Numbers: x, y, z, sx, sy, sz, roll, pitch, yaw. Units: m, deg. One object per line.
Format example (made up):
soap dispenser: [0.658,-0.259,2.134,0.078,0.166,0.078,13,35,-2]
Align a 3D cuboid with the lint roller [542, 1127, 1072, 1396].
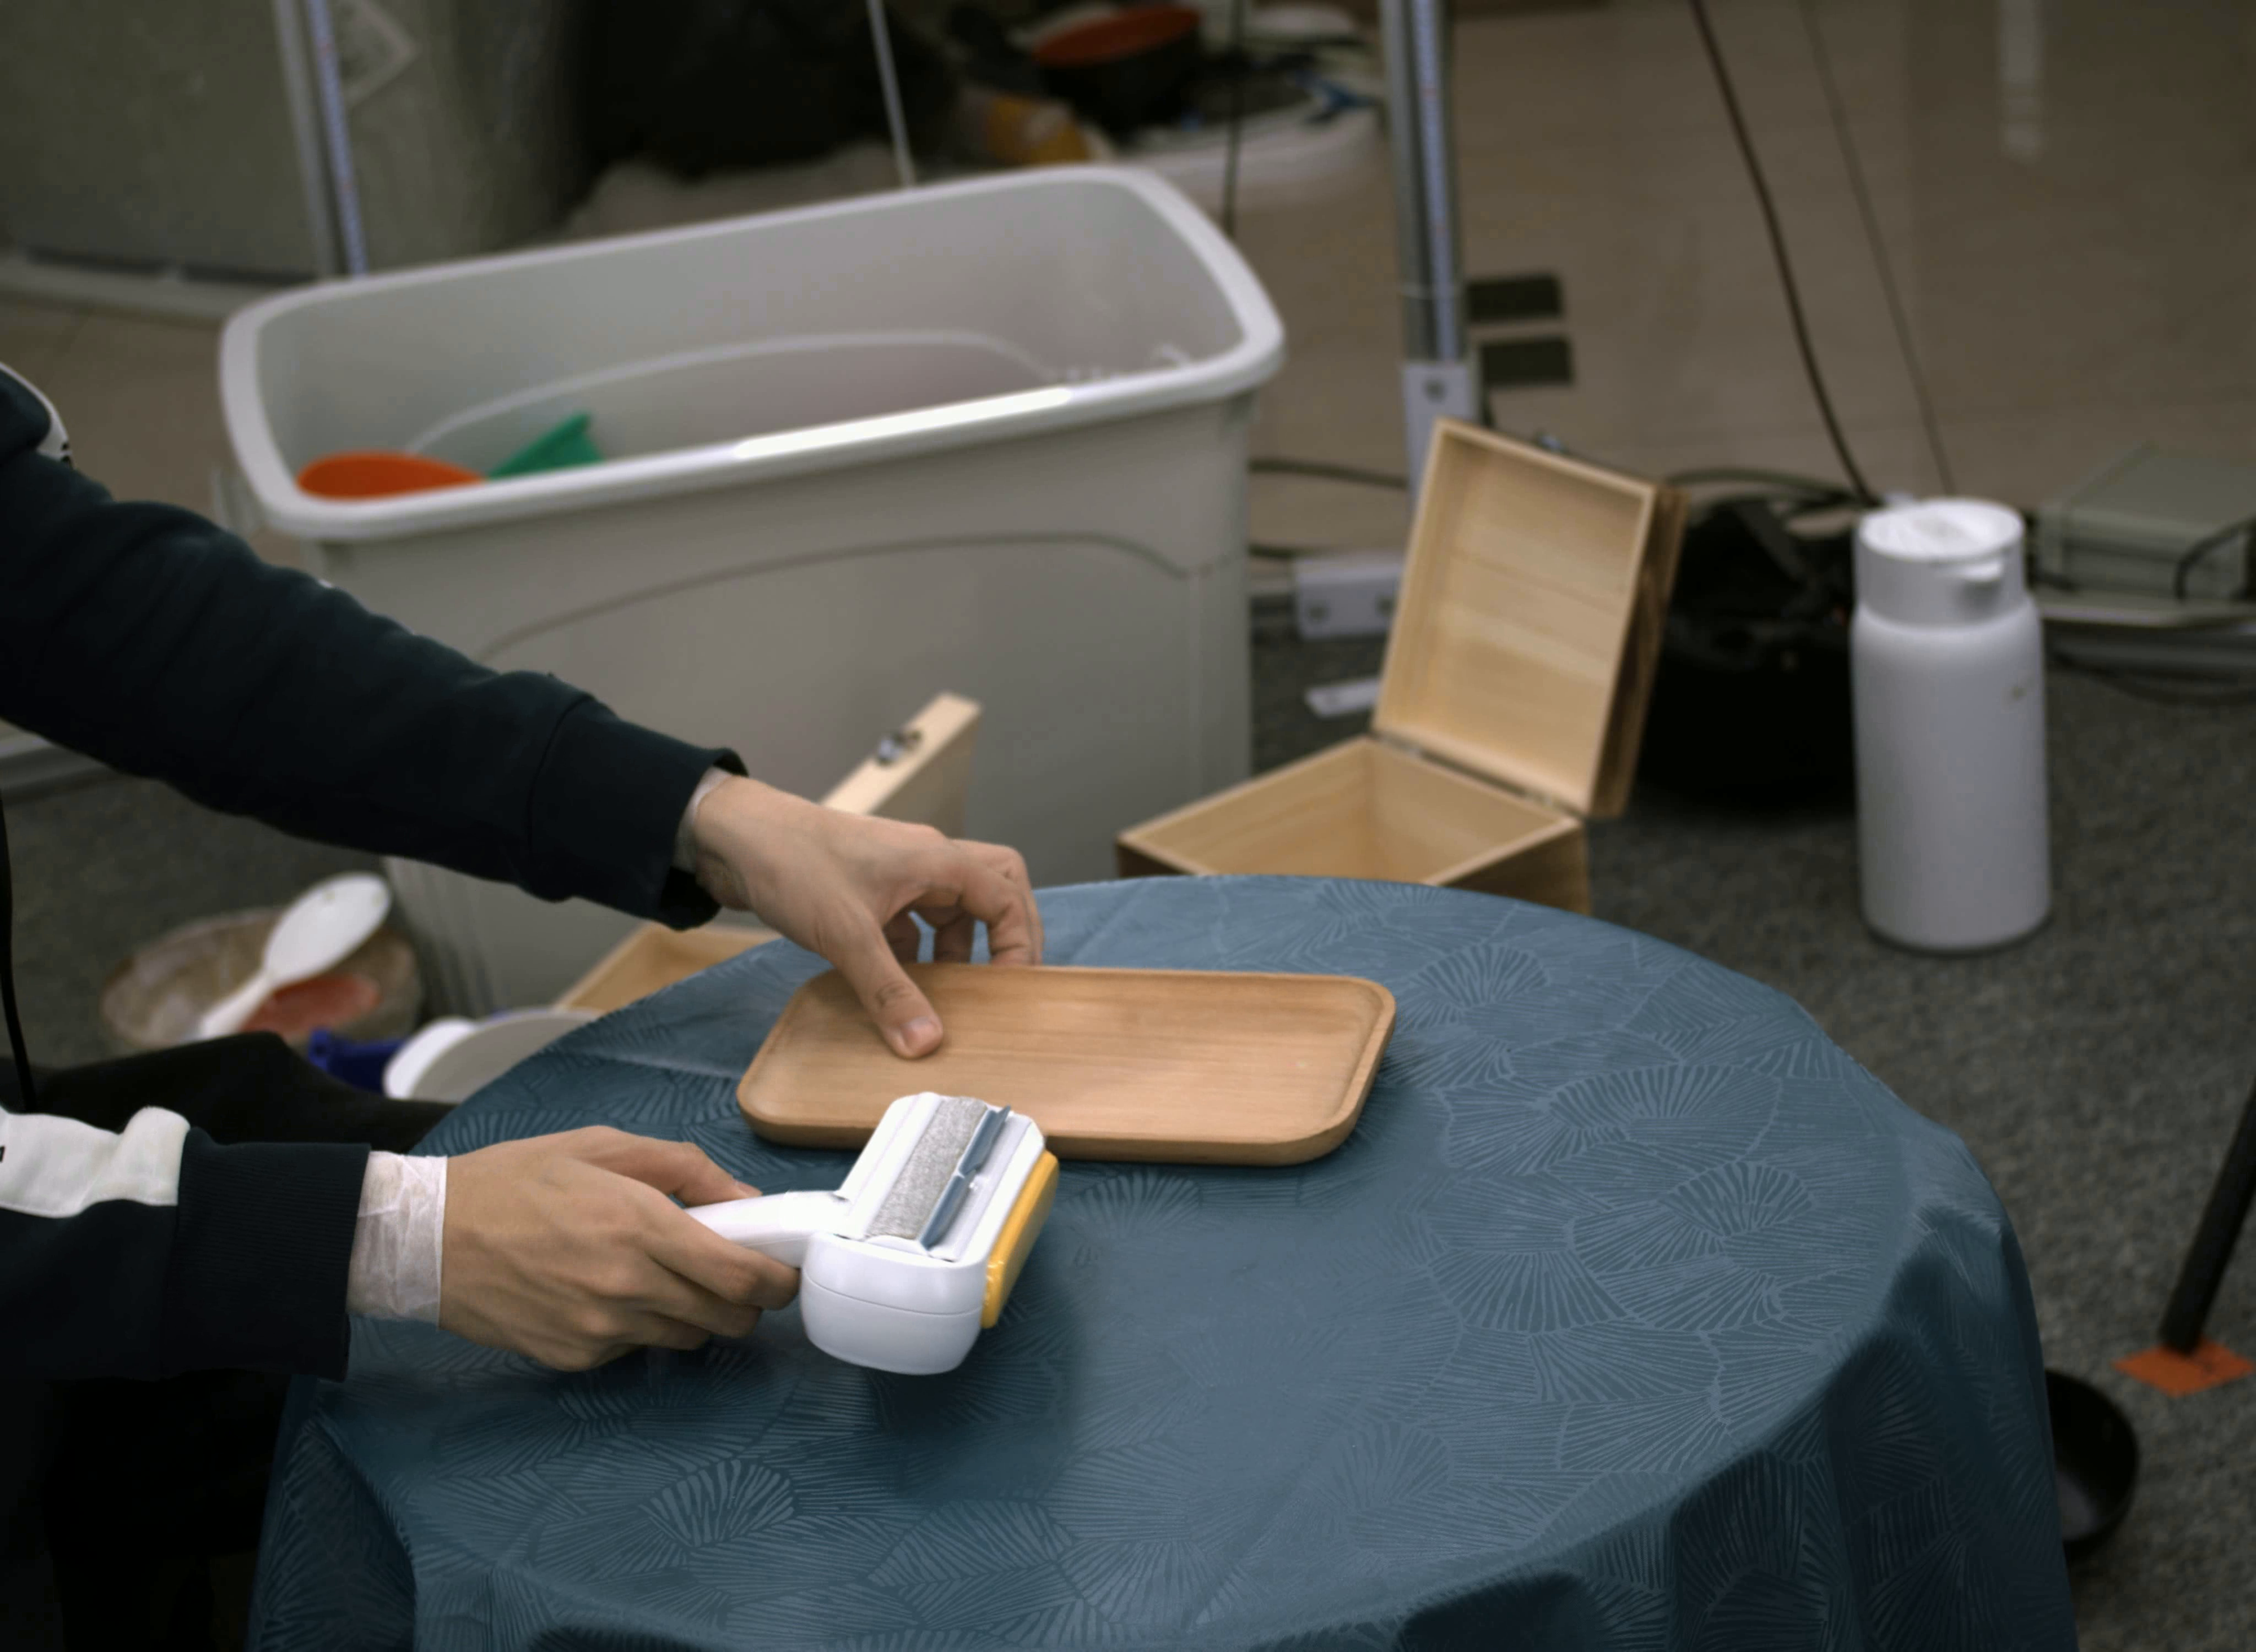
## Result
lint roller: [-0.127,0.168,2.061,0.192,0.075,0.191,-8,15,16]

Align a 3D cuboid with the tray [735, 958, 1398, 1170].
tray: [-0.024,0.093,2.222,0.250,0.023,0.128,1,27,18]
